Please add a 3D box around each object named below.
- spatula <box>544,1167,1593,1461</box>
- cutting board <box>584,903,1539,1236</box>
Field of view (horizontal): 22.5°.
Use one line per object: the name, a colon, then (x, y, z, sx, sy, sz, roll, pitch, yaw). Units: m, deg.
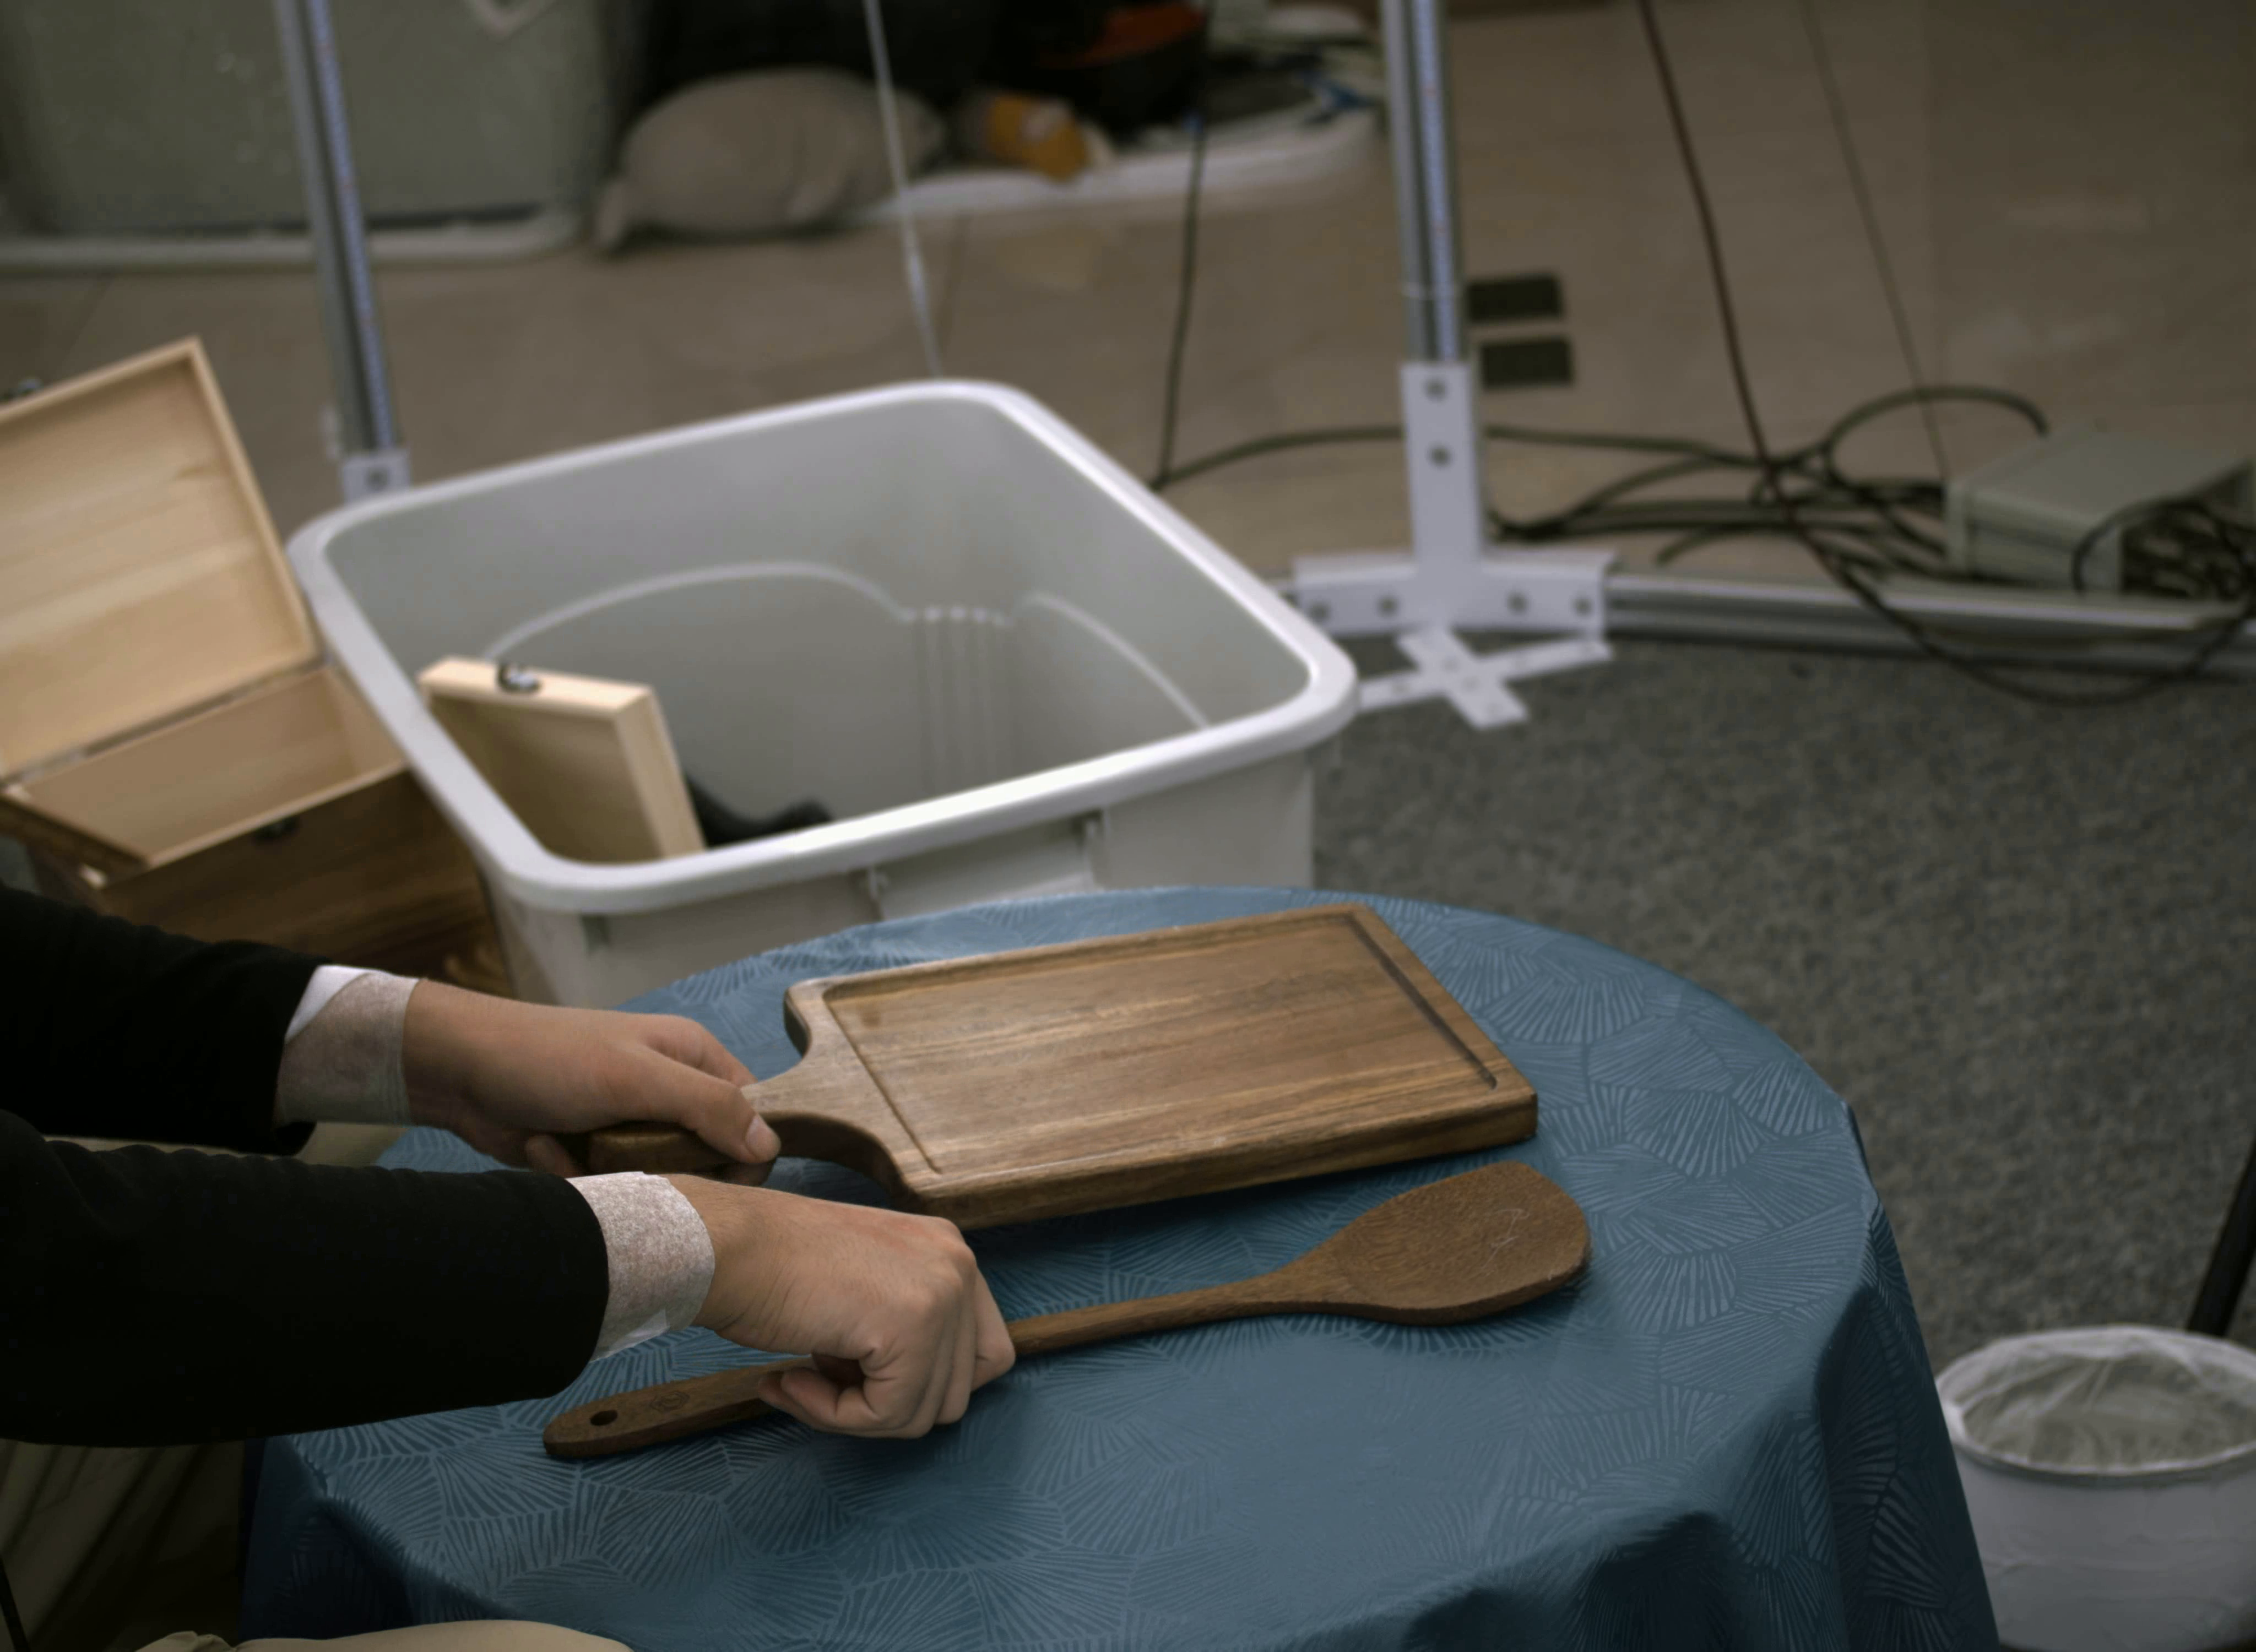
spatula: (-0.021, 0.181, 2.045, 0.385, 0.016, 0.095, -11, 25, -9)
cutting board: (-0.038, 0.097, 2.184, 0.351, 0.023, 0.198, -8, 25, -17)
